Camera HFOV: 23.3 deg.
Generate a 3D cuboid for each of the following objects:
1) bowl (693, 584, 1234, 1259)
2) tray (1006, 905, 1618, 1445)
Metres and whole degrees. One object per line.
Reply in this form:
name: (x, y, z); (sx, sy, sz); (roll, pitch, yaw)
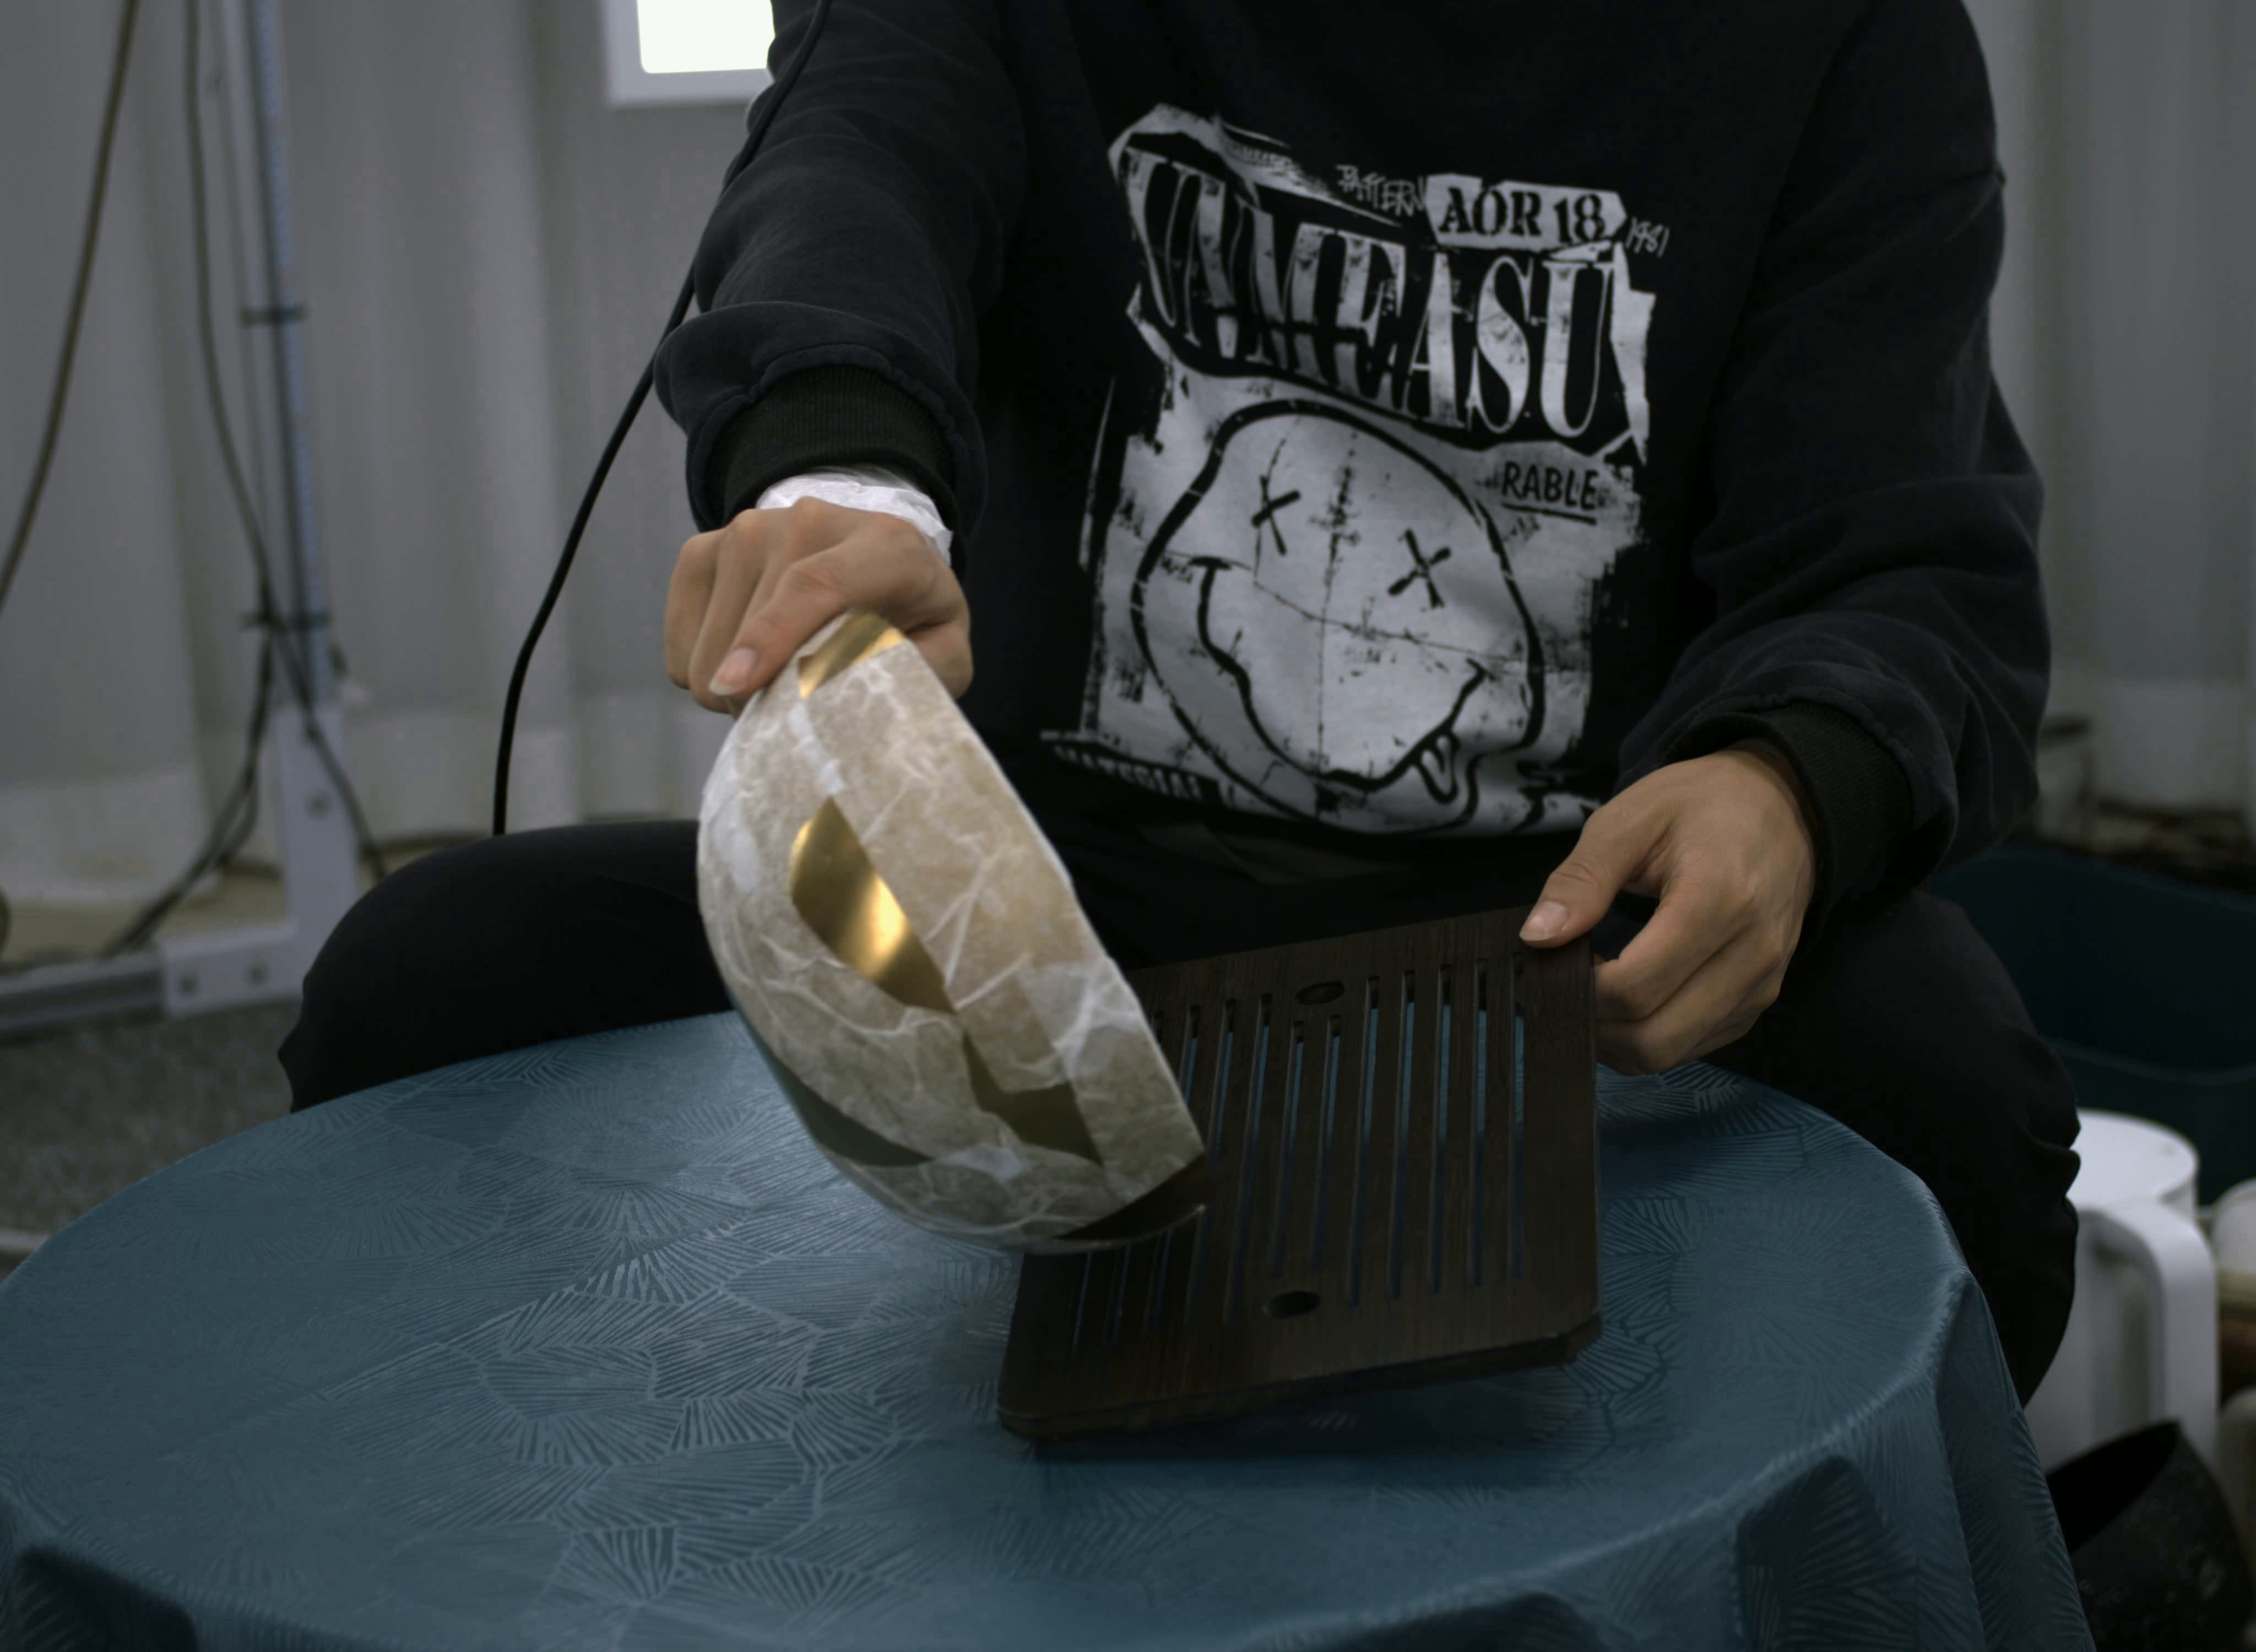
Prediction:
bowl: (-0.062, 0.046, 1.555); (0.094, 0.213, 0.216); (-31, 19, -6)
tray: (0.059, 0.100, 1.621); (0.170, 0.018, 0.308); (-10, 20, 8)
